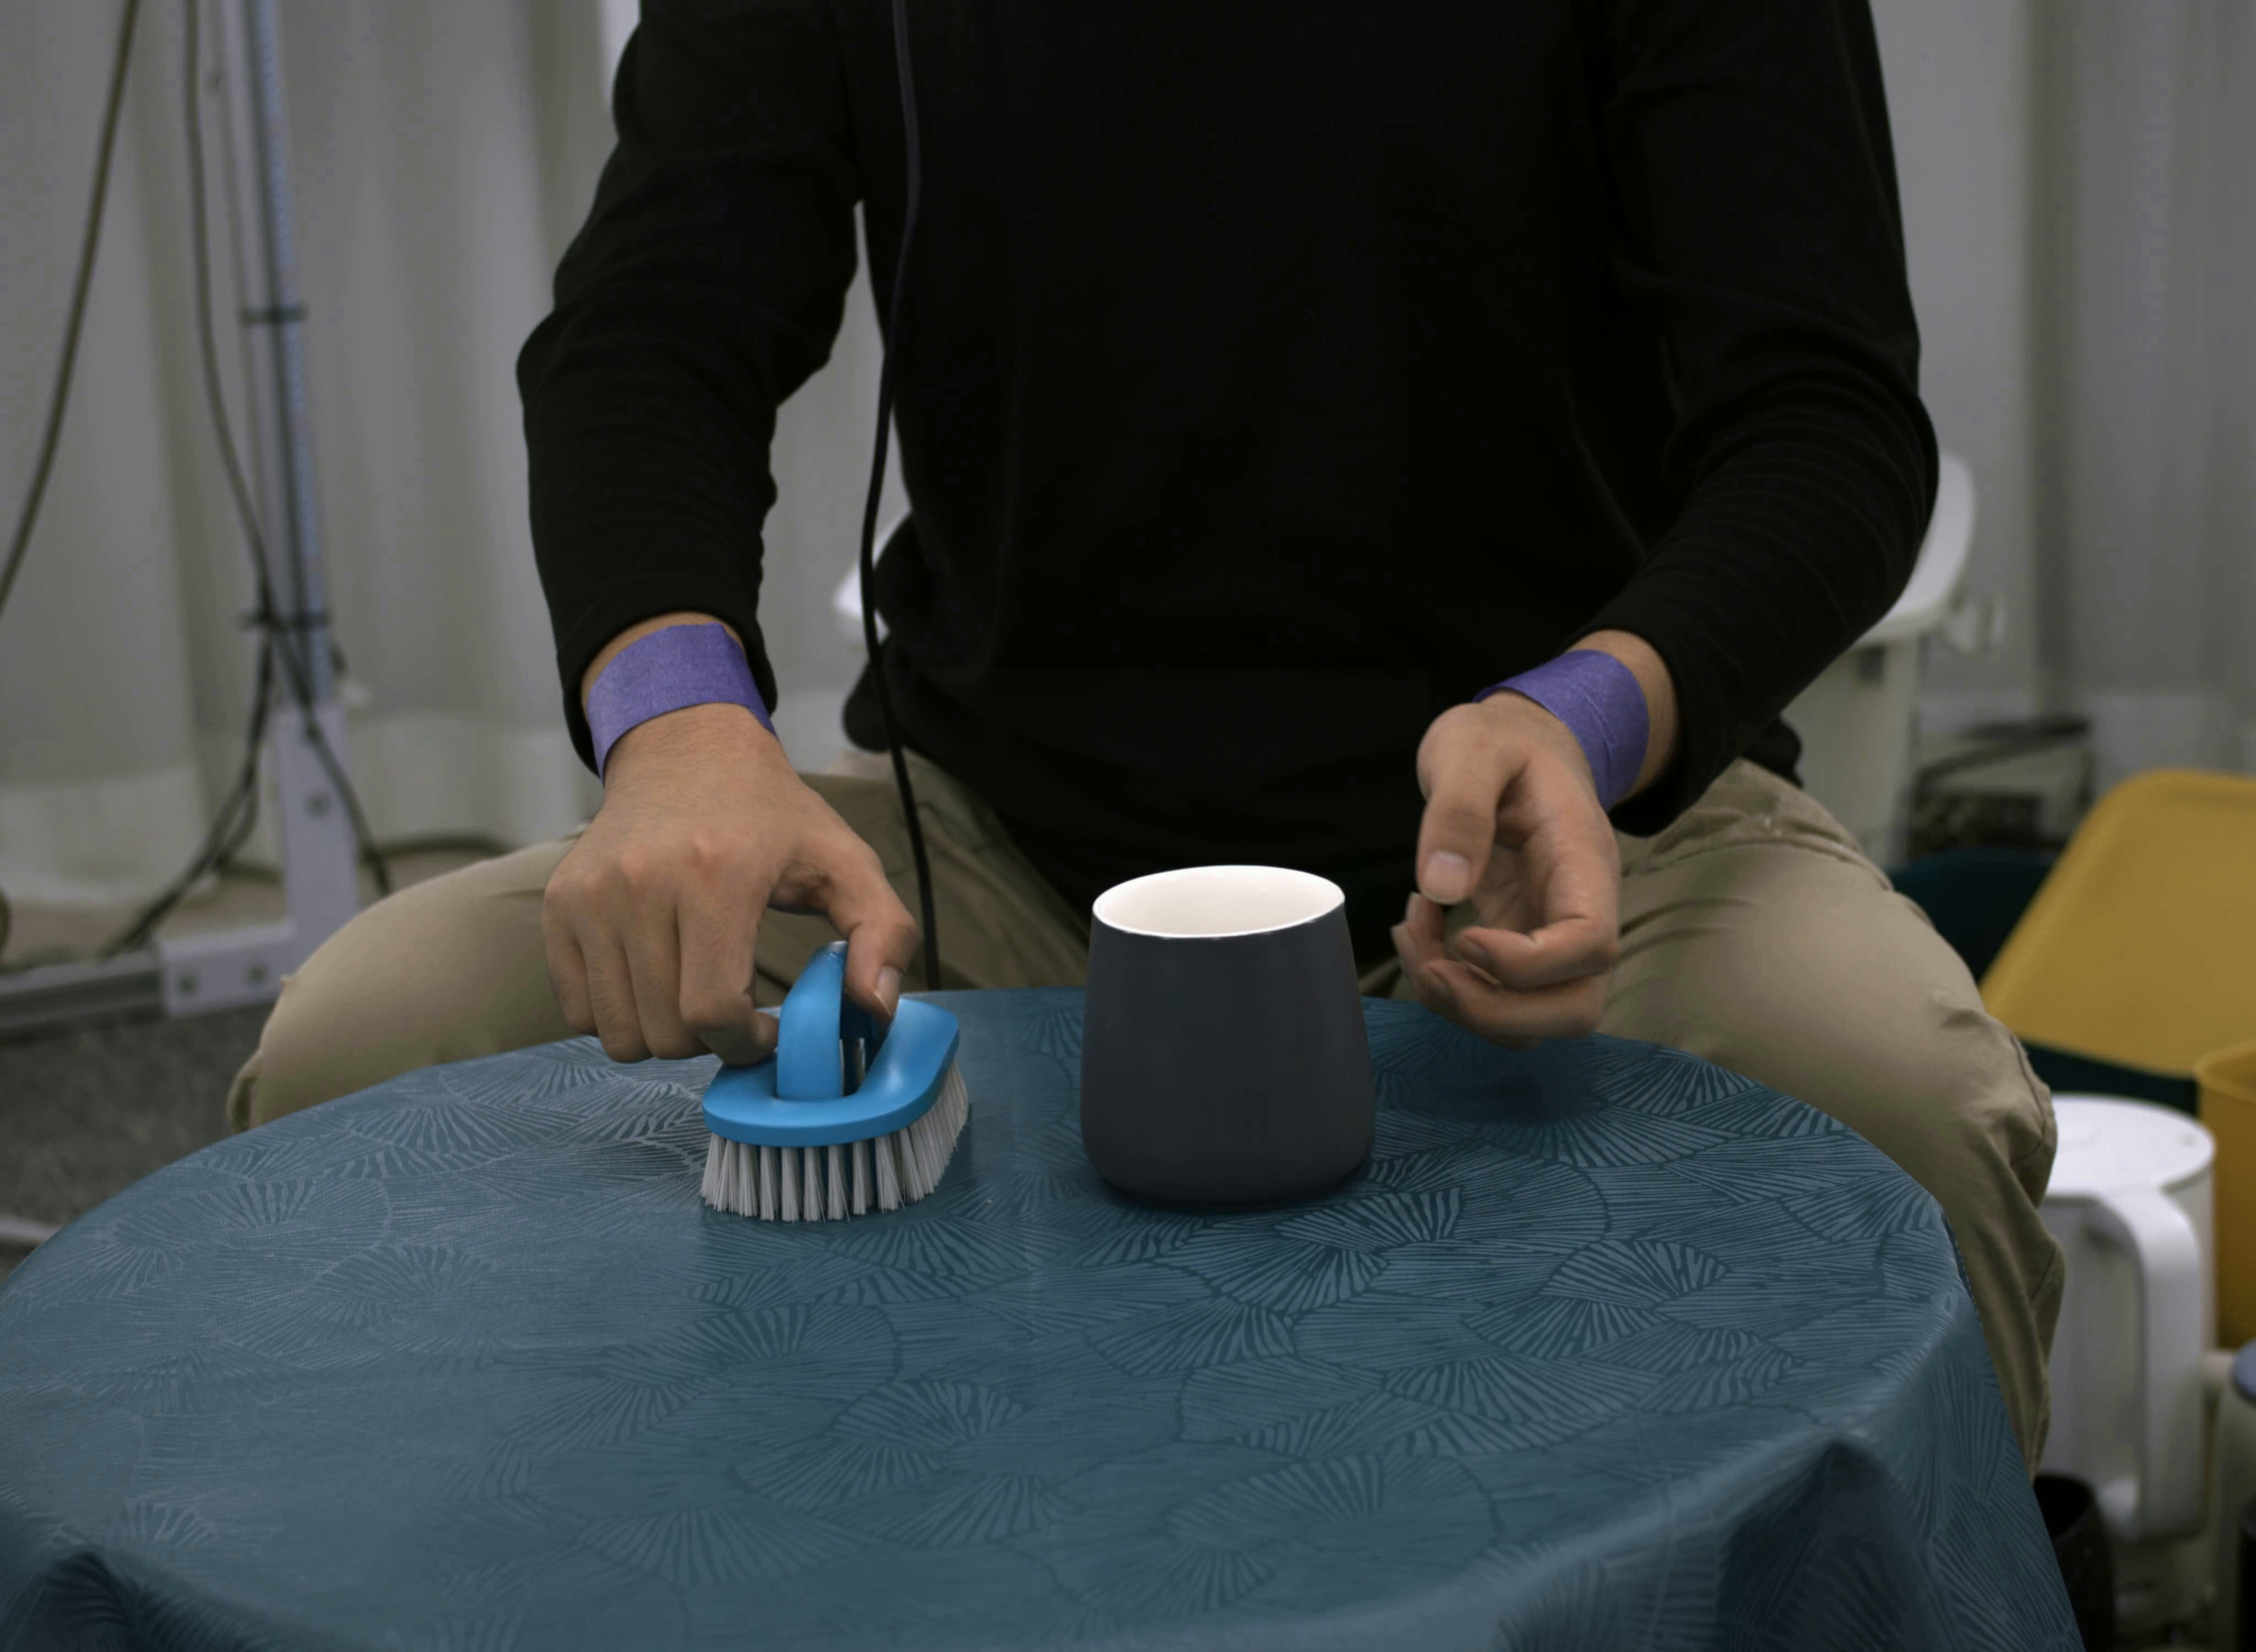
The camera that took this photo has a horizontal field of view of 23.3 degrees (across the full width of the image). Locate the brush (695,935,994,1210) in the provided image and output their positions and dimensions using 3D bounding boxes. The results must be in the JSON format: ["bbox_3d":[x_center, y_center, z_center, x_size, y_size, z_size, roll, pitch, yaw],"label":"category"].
[{"bbox_3d":[-0.093,0.073,1.761,0.084,0.063,0.142,-5,13,9],"label":"brush"}]

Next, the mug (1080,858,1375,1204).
[{"bbox_3d":[0.034,0.060,1.731,0.093,0.089,0.124,2,17,15],"label":"mug"}]
